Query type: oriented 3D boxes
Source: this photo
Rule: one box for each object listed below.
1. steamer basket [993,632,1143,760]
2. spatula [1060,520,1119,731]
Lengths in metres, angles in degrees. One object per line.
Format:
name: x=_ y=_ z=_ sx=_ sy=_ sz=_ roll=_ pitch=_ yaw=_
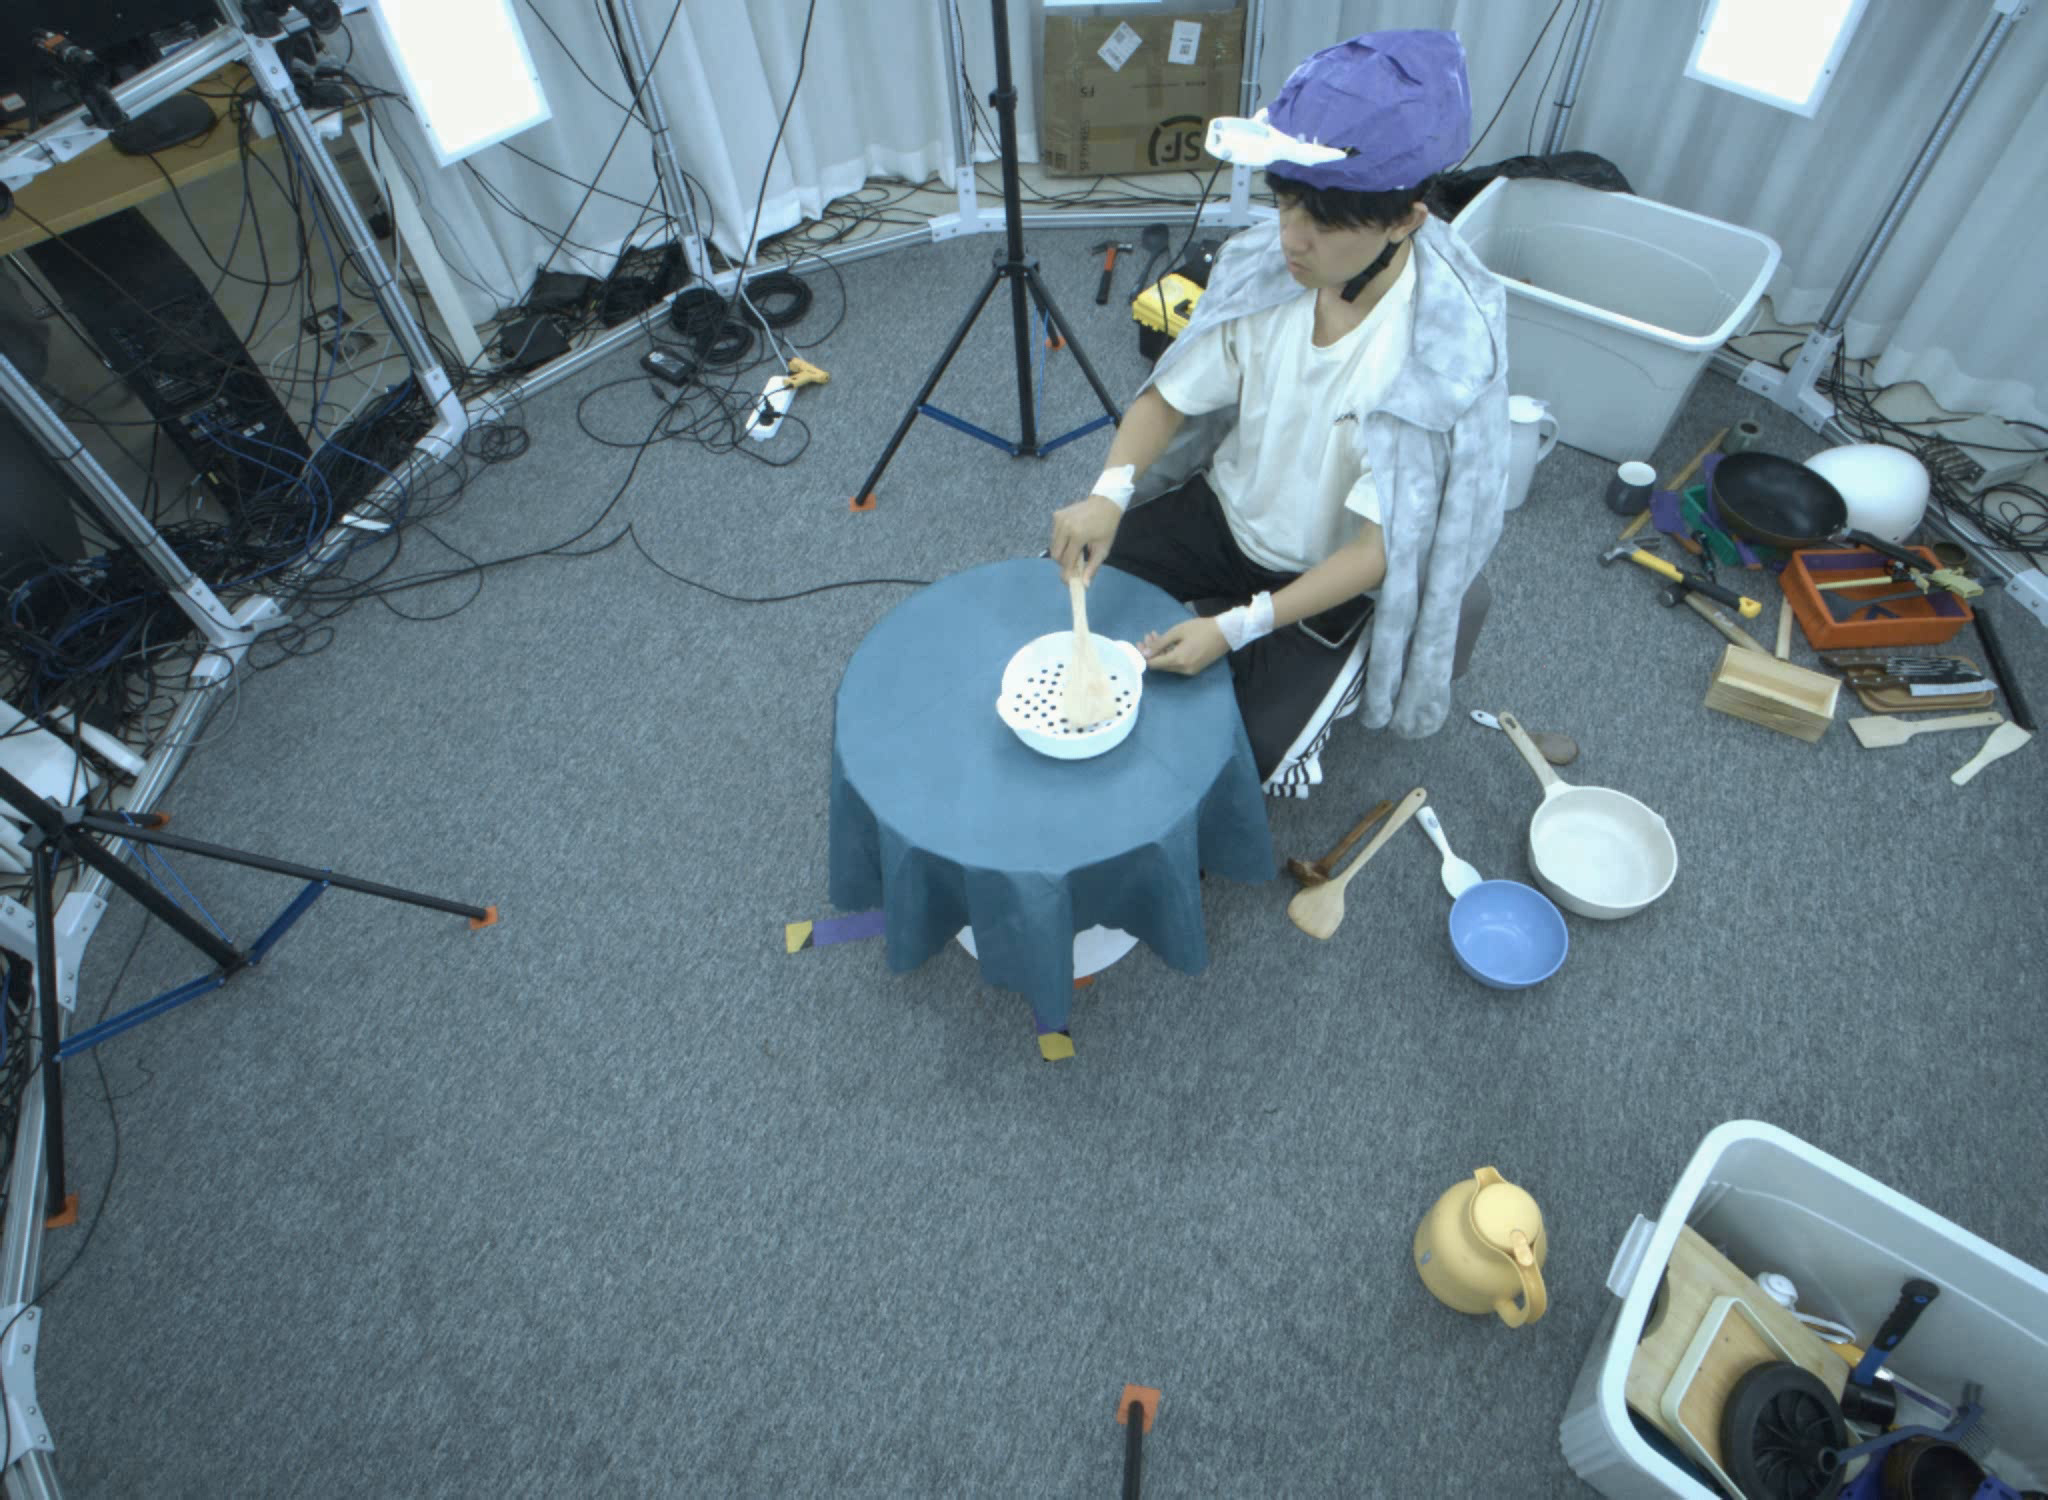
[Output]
steamer basket: x=0.065 y=-0.077 z=1.801 sx=0.232 sy=0.070 sz=0.198 roll=-26 pitch=59 yaw=-16
spatula: x=0.083 y=-0.187 z=1.796 sx=0.080 sy=0.016 sz=0.325 roll=-7 pitch=77 yaw=3
